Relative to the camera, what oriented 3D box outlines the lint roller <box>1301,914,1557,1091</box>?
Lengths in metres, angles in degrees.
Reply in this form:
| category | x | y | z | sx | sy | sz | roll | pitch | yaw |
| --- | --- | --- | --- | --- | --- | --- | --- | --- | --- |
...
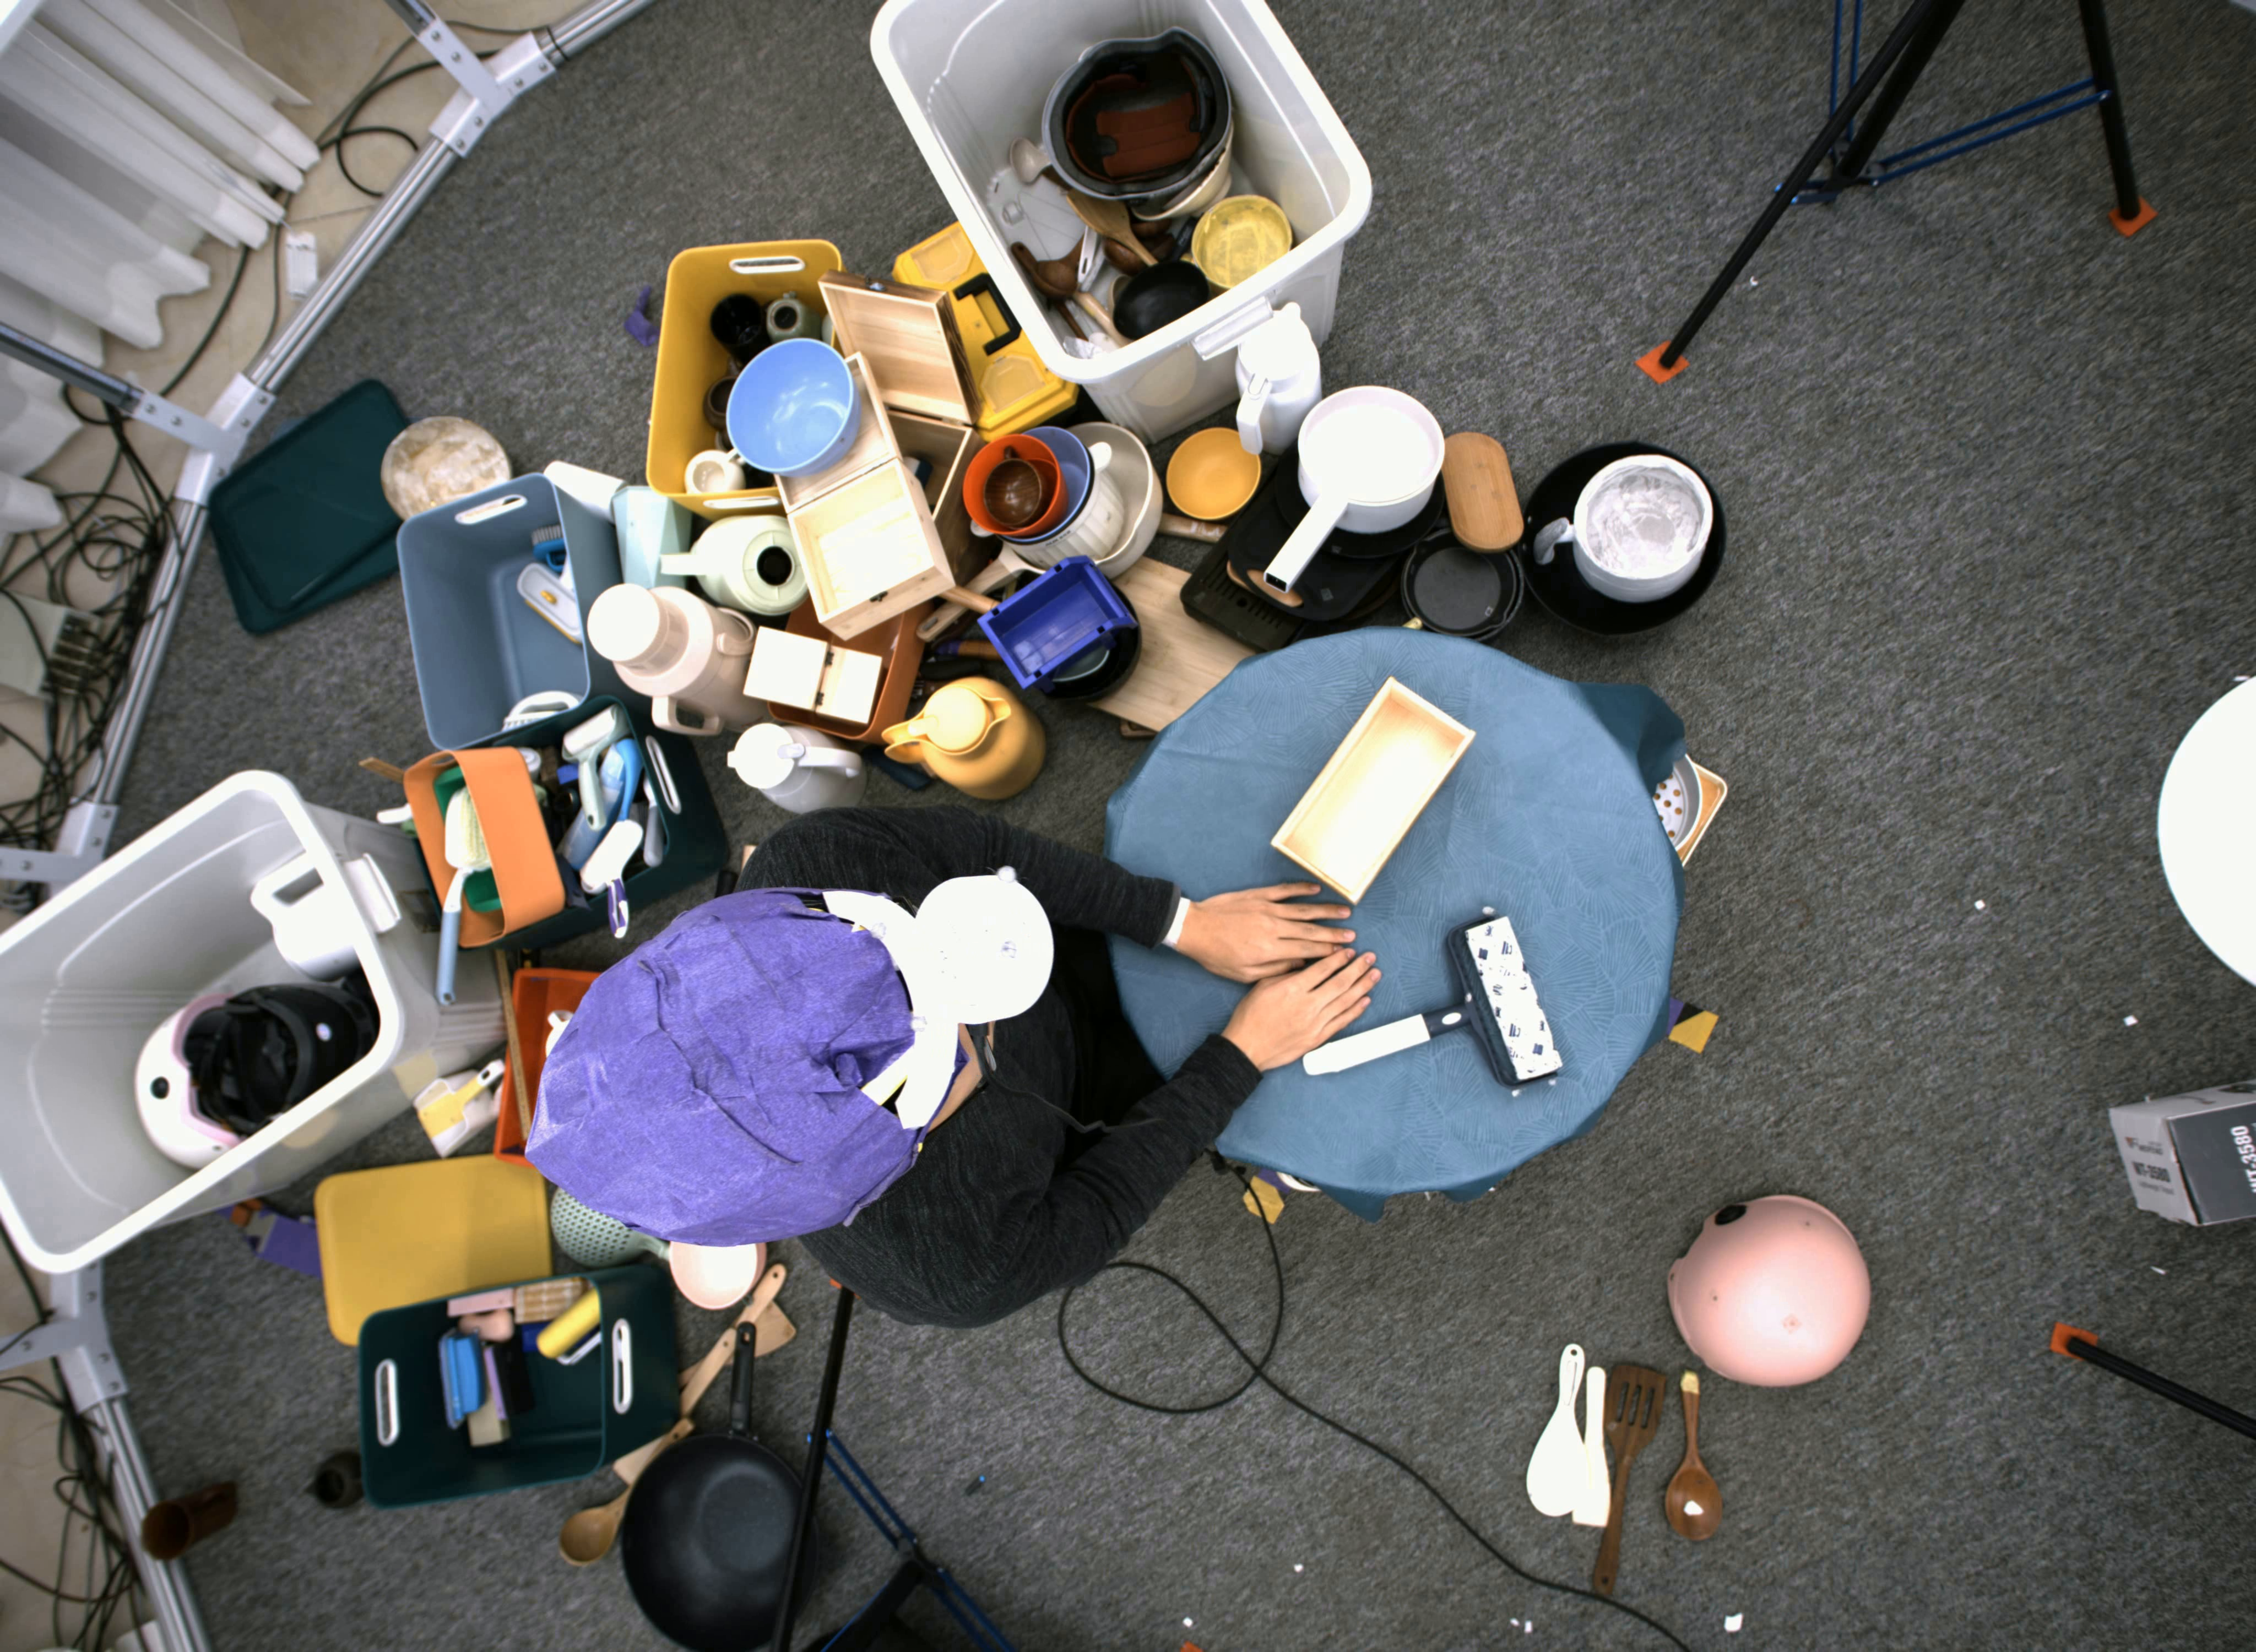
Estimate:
| category | x | y | z | sx | sy | sz | roll | pitch | yaw |
| --- | --- | --- | --- | --- | --- | --- | --- | --- | --- |
| lint roller | 0.296 | 0.211 | 1.420 | 0.248 | 0.050 | 0.176 | -21 | 88 | 9 |

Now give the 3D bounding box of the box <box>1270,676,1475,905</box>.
| category | x | y | z | sx | sy | sz | roll | pitch | yaw |
| --- | --- | --- | --- | --- | --- | --- | --- | --- | --- |
| box | 0.253 | -0.036 | 1.429 | 0.107 | 0.080 | 0.212 | 35 | 93 | 11 |
